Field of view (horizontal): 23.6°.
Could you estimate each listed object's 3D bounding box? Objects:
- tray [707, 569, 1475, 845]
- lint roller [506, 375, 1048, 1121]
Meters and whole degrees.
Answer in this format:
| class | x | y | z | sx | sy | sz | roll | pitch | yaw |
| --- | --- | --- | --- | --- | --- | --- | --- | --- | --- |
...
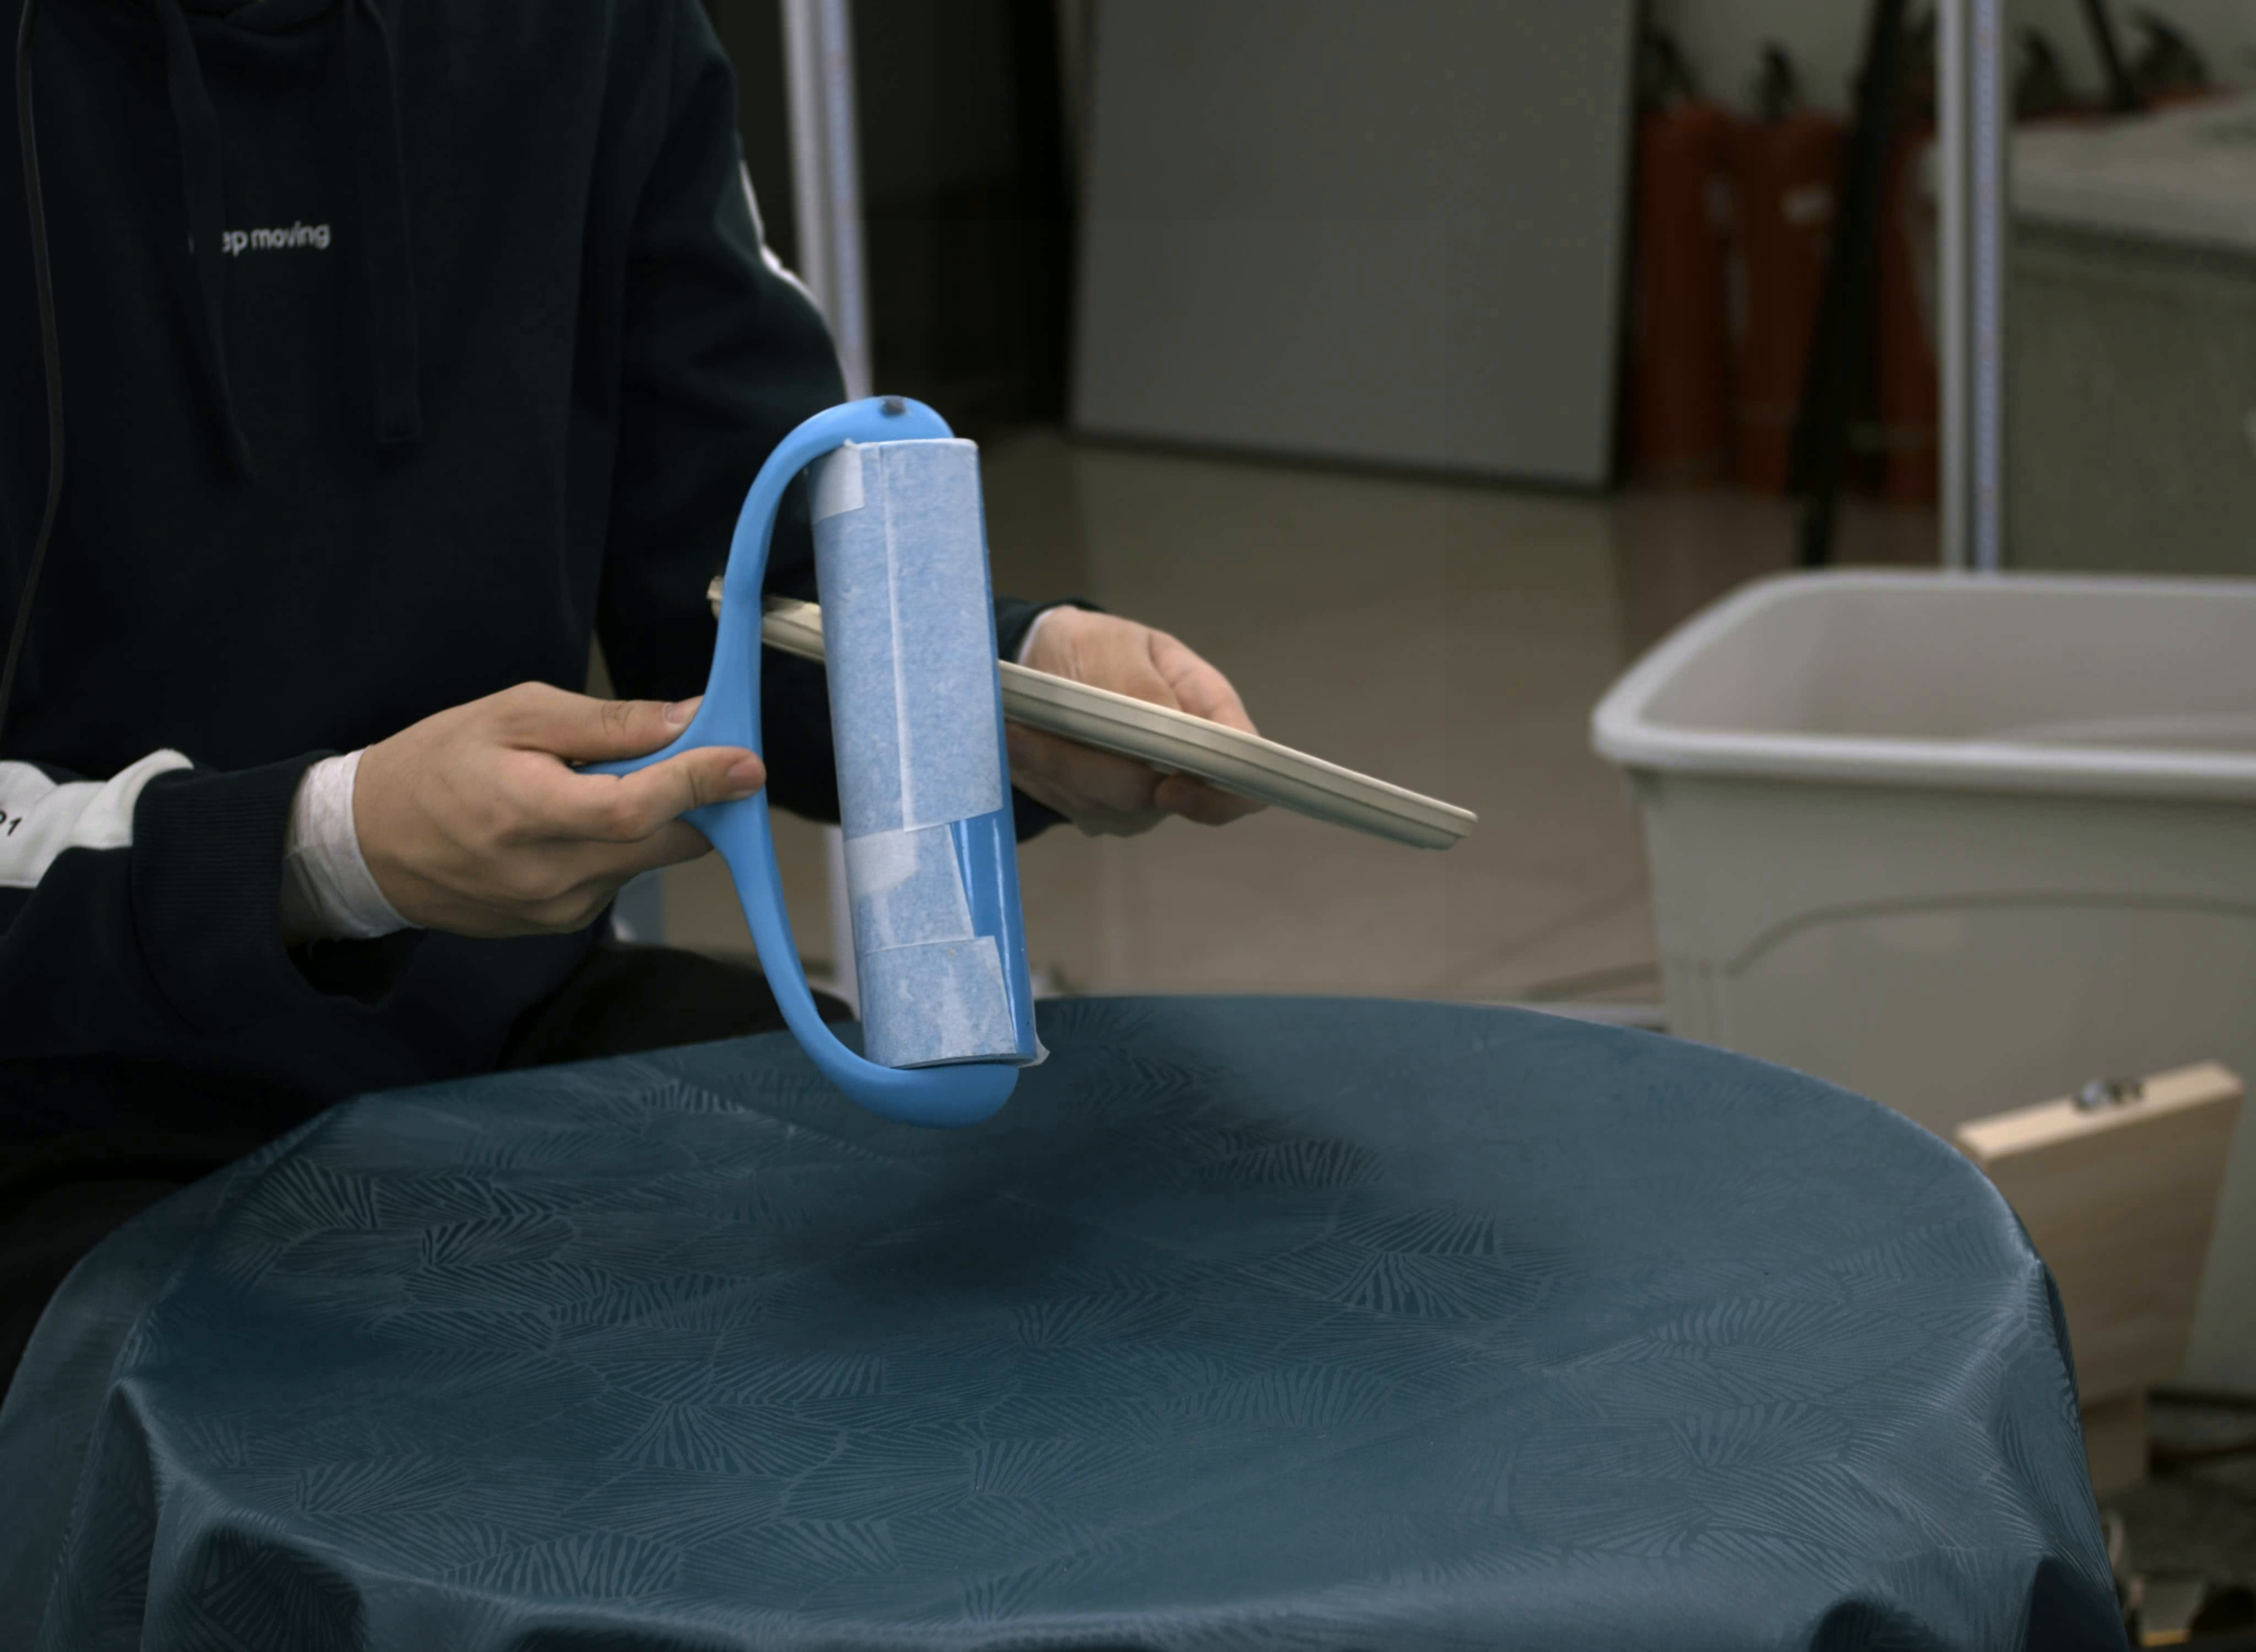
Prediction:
| class | x | y | z | sx | sy | sz | roll | pitch | yaw |
| --- | --- | --- | --- | --- | --- | --- | --- | --- | --- |
| tray | -0.014 | -0.037 | 1.768 | 0.242 | 0.017 | 0.168 | 17 | -1 | 40 |
| lint roller | -0.119 | -0.013 | 1.670 | 0.179 | 0.232 | 0.067 | -12 | -7 | 16 |
